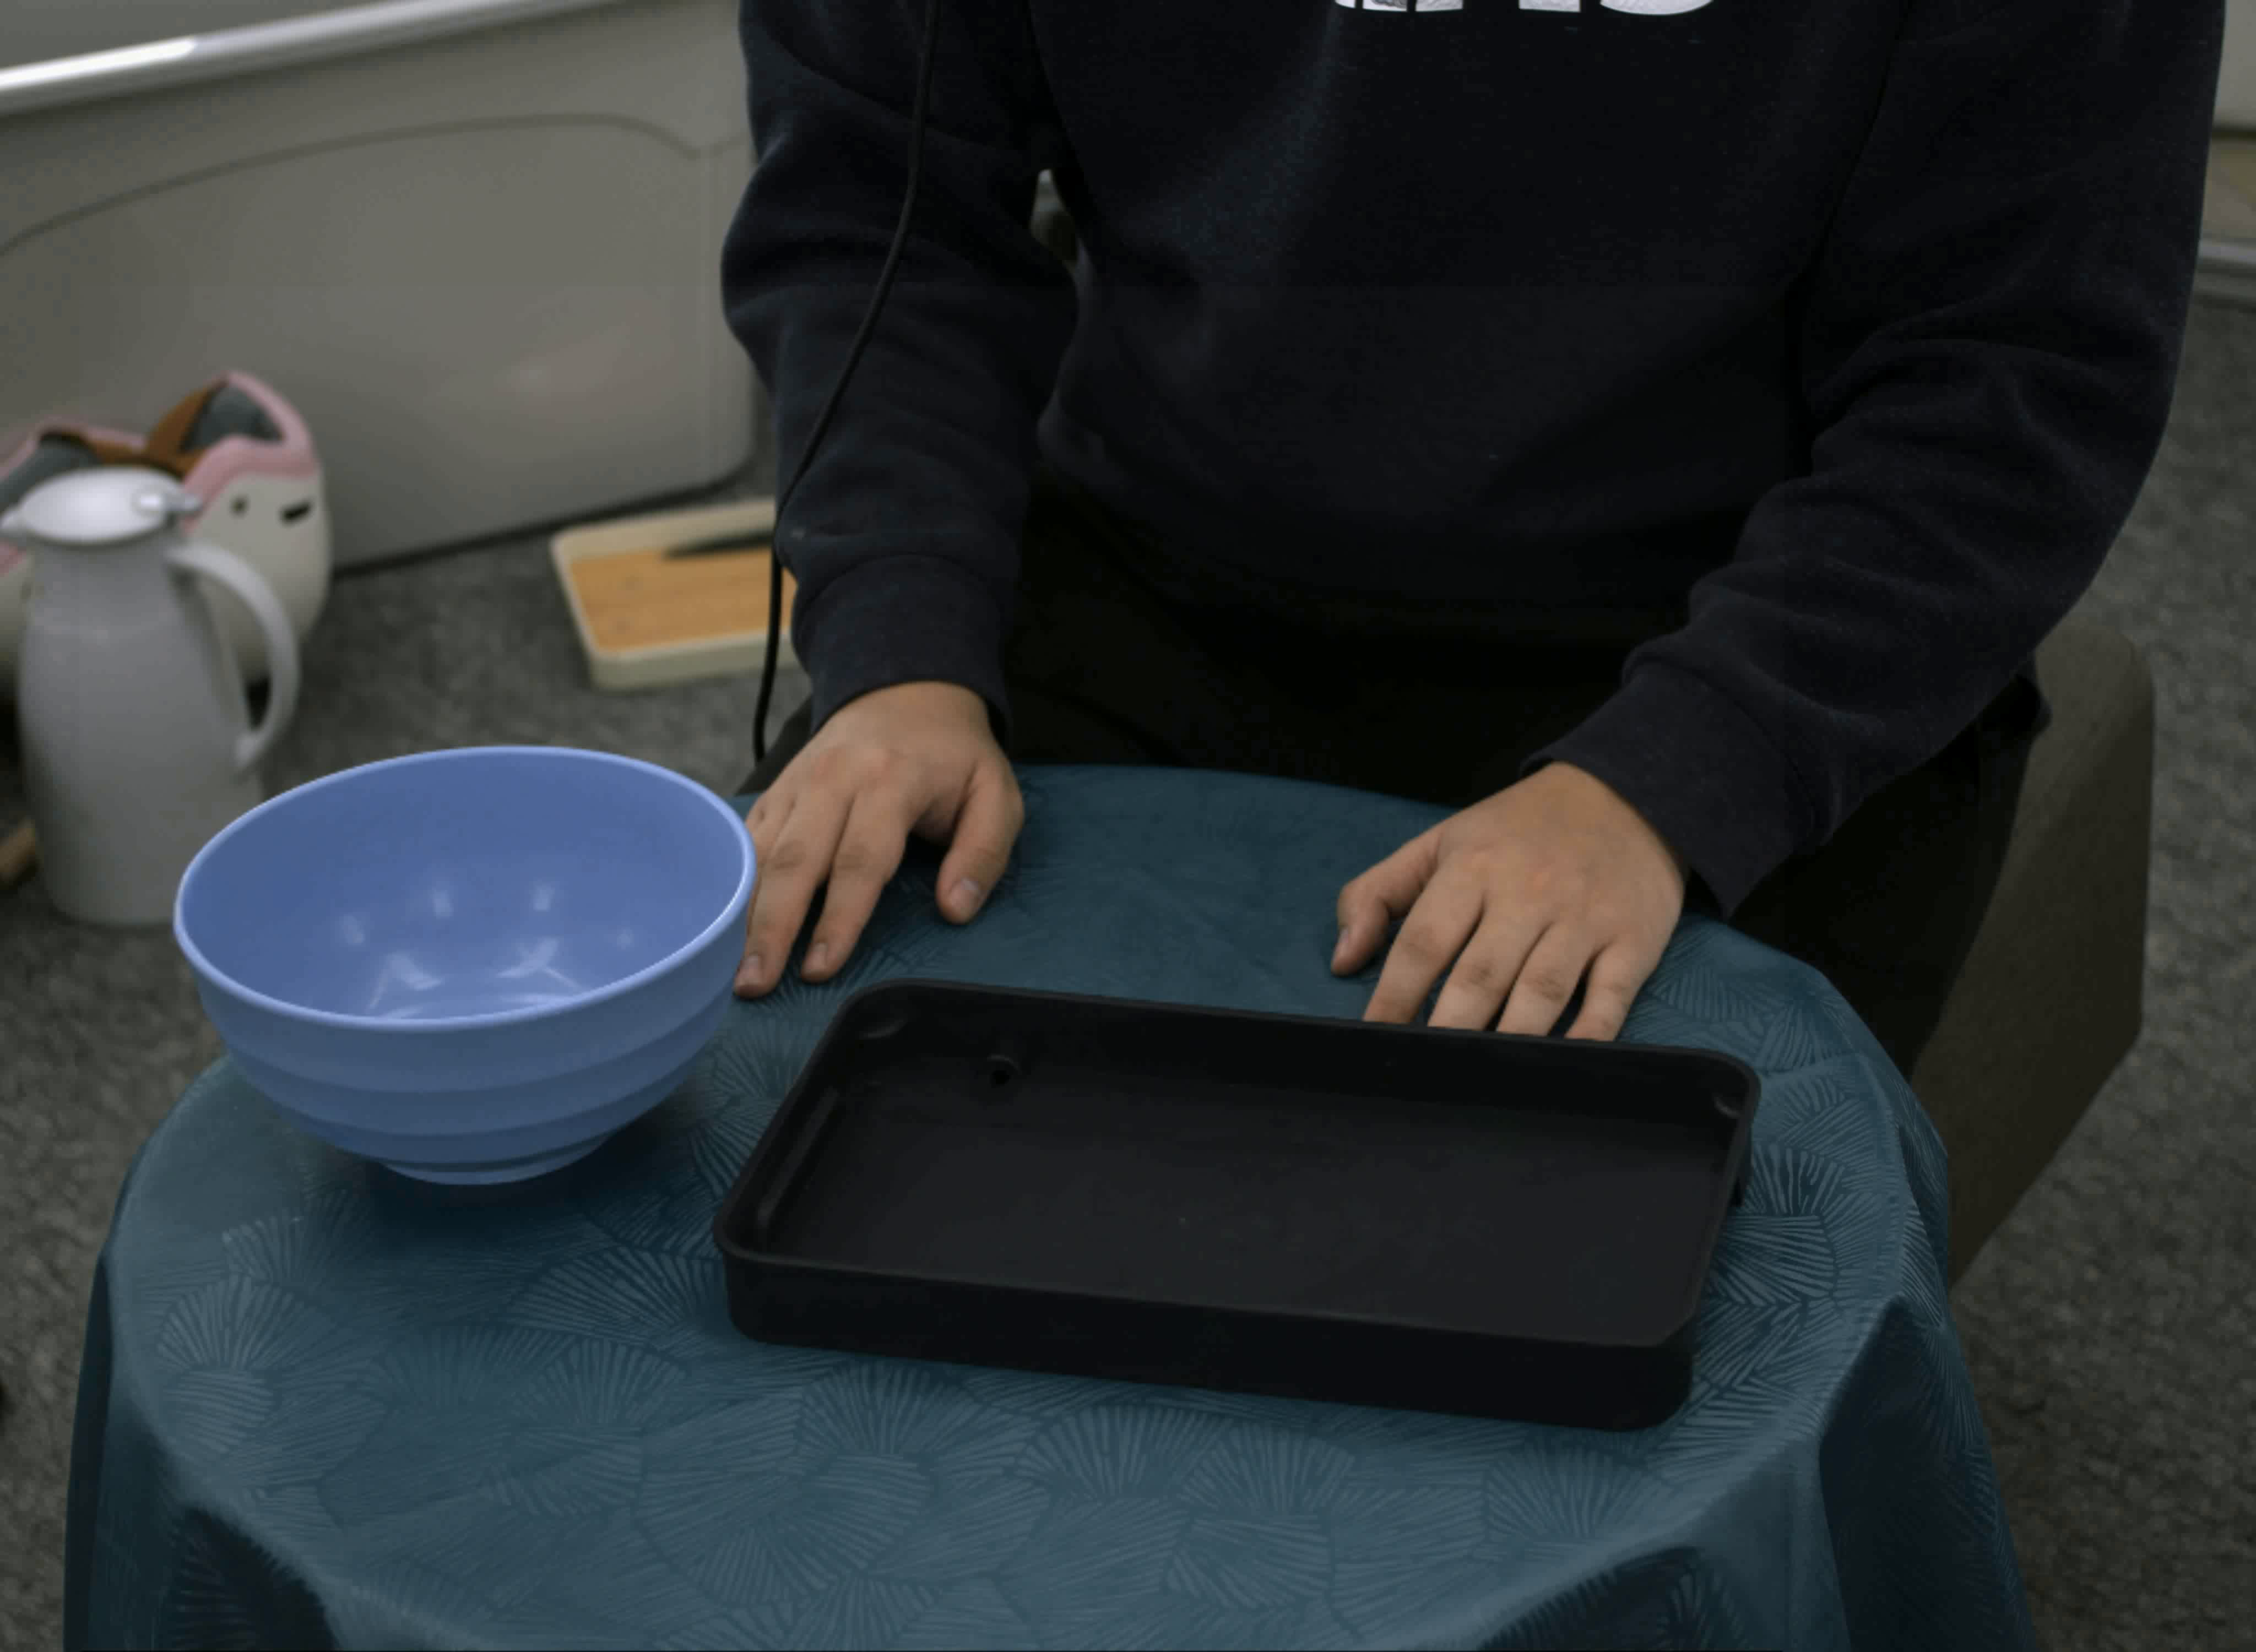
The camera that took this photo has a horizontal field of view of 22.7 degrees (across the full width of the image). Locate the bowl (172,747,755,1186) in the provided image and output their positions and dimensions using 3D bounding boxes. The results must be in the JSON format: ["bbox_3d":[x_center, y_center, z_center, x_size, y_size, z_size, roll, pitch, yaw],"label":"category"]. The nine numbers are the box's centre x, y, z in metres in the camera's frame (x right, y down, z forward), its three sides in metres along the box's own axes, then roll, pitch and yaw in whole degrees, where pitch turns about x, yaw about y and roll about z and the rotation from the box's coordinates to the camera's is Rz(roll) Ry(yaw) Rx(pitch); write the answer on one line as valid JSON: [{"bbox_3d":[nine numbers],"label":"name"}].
[{"bbox_3d":[-0.219,0.058,1.903,0.195,0.094,0.199,-3,27,2],"label":"bowl"}]

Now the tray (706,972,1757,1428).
[{"bbox_3d":[0.036,0.118,1.827,0.316,0.036,0.187,5,28,13],"label":"tray"}]
